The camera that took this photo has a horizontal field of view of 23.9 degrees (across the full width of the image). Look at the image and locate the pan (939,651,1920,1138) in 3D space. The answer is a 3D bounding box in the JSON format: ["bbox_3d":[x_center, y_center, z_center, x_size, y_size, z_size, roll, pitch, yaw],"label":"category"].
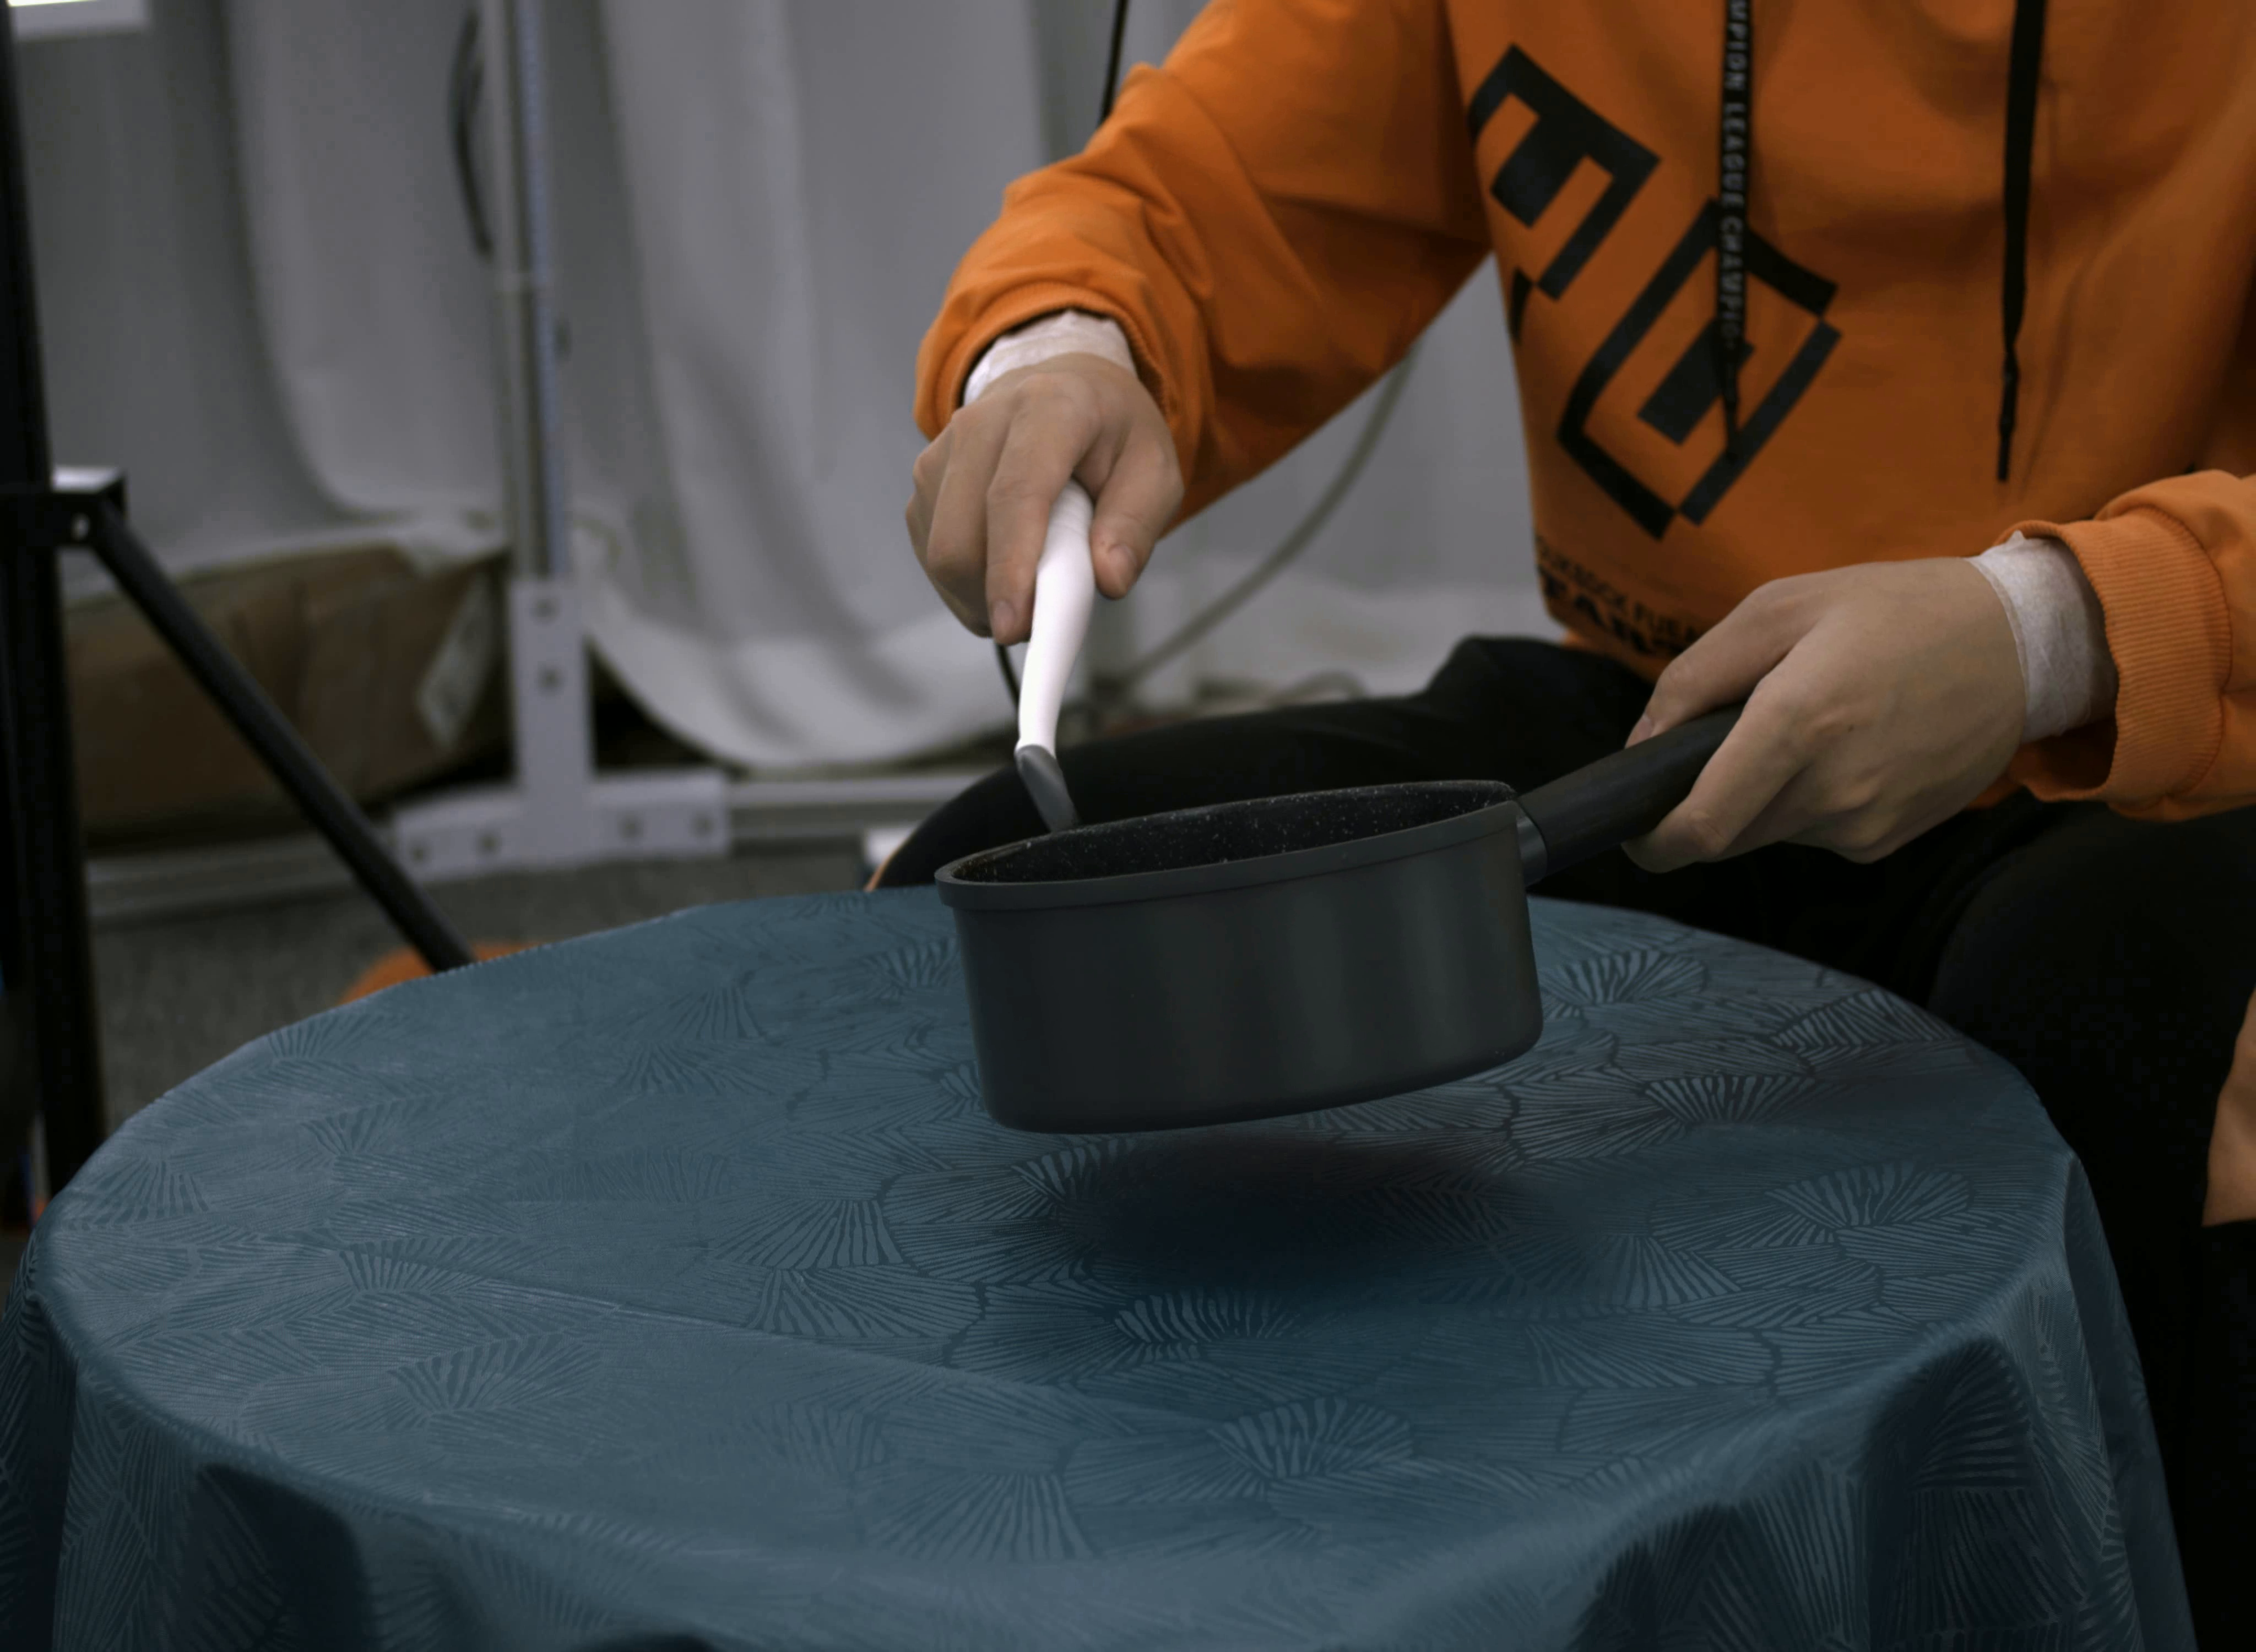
[{"bbox_3d":[0.101,0.021,1.560,0.322,0.086,0.175,-13,8,-28],"label":"pan"}]

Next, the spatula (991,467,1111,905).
[{"bbox_3d":[-0.020,-0.038,1.592,0.032,0.058,0.290,-22,25,7],"label":"spatula"}]
